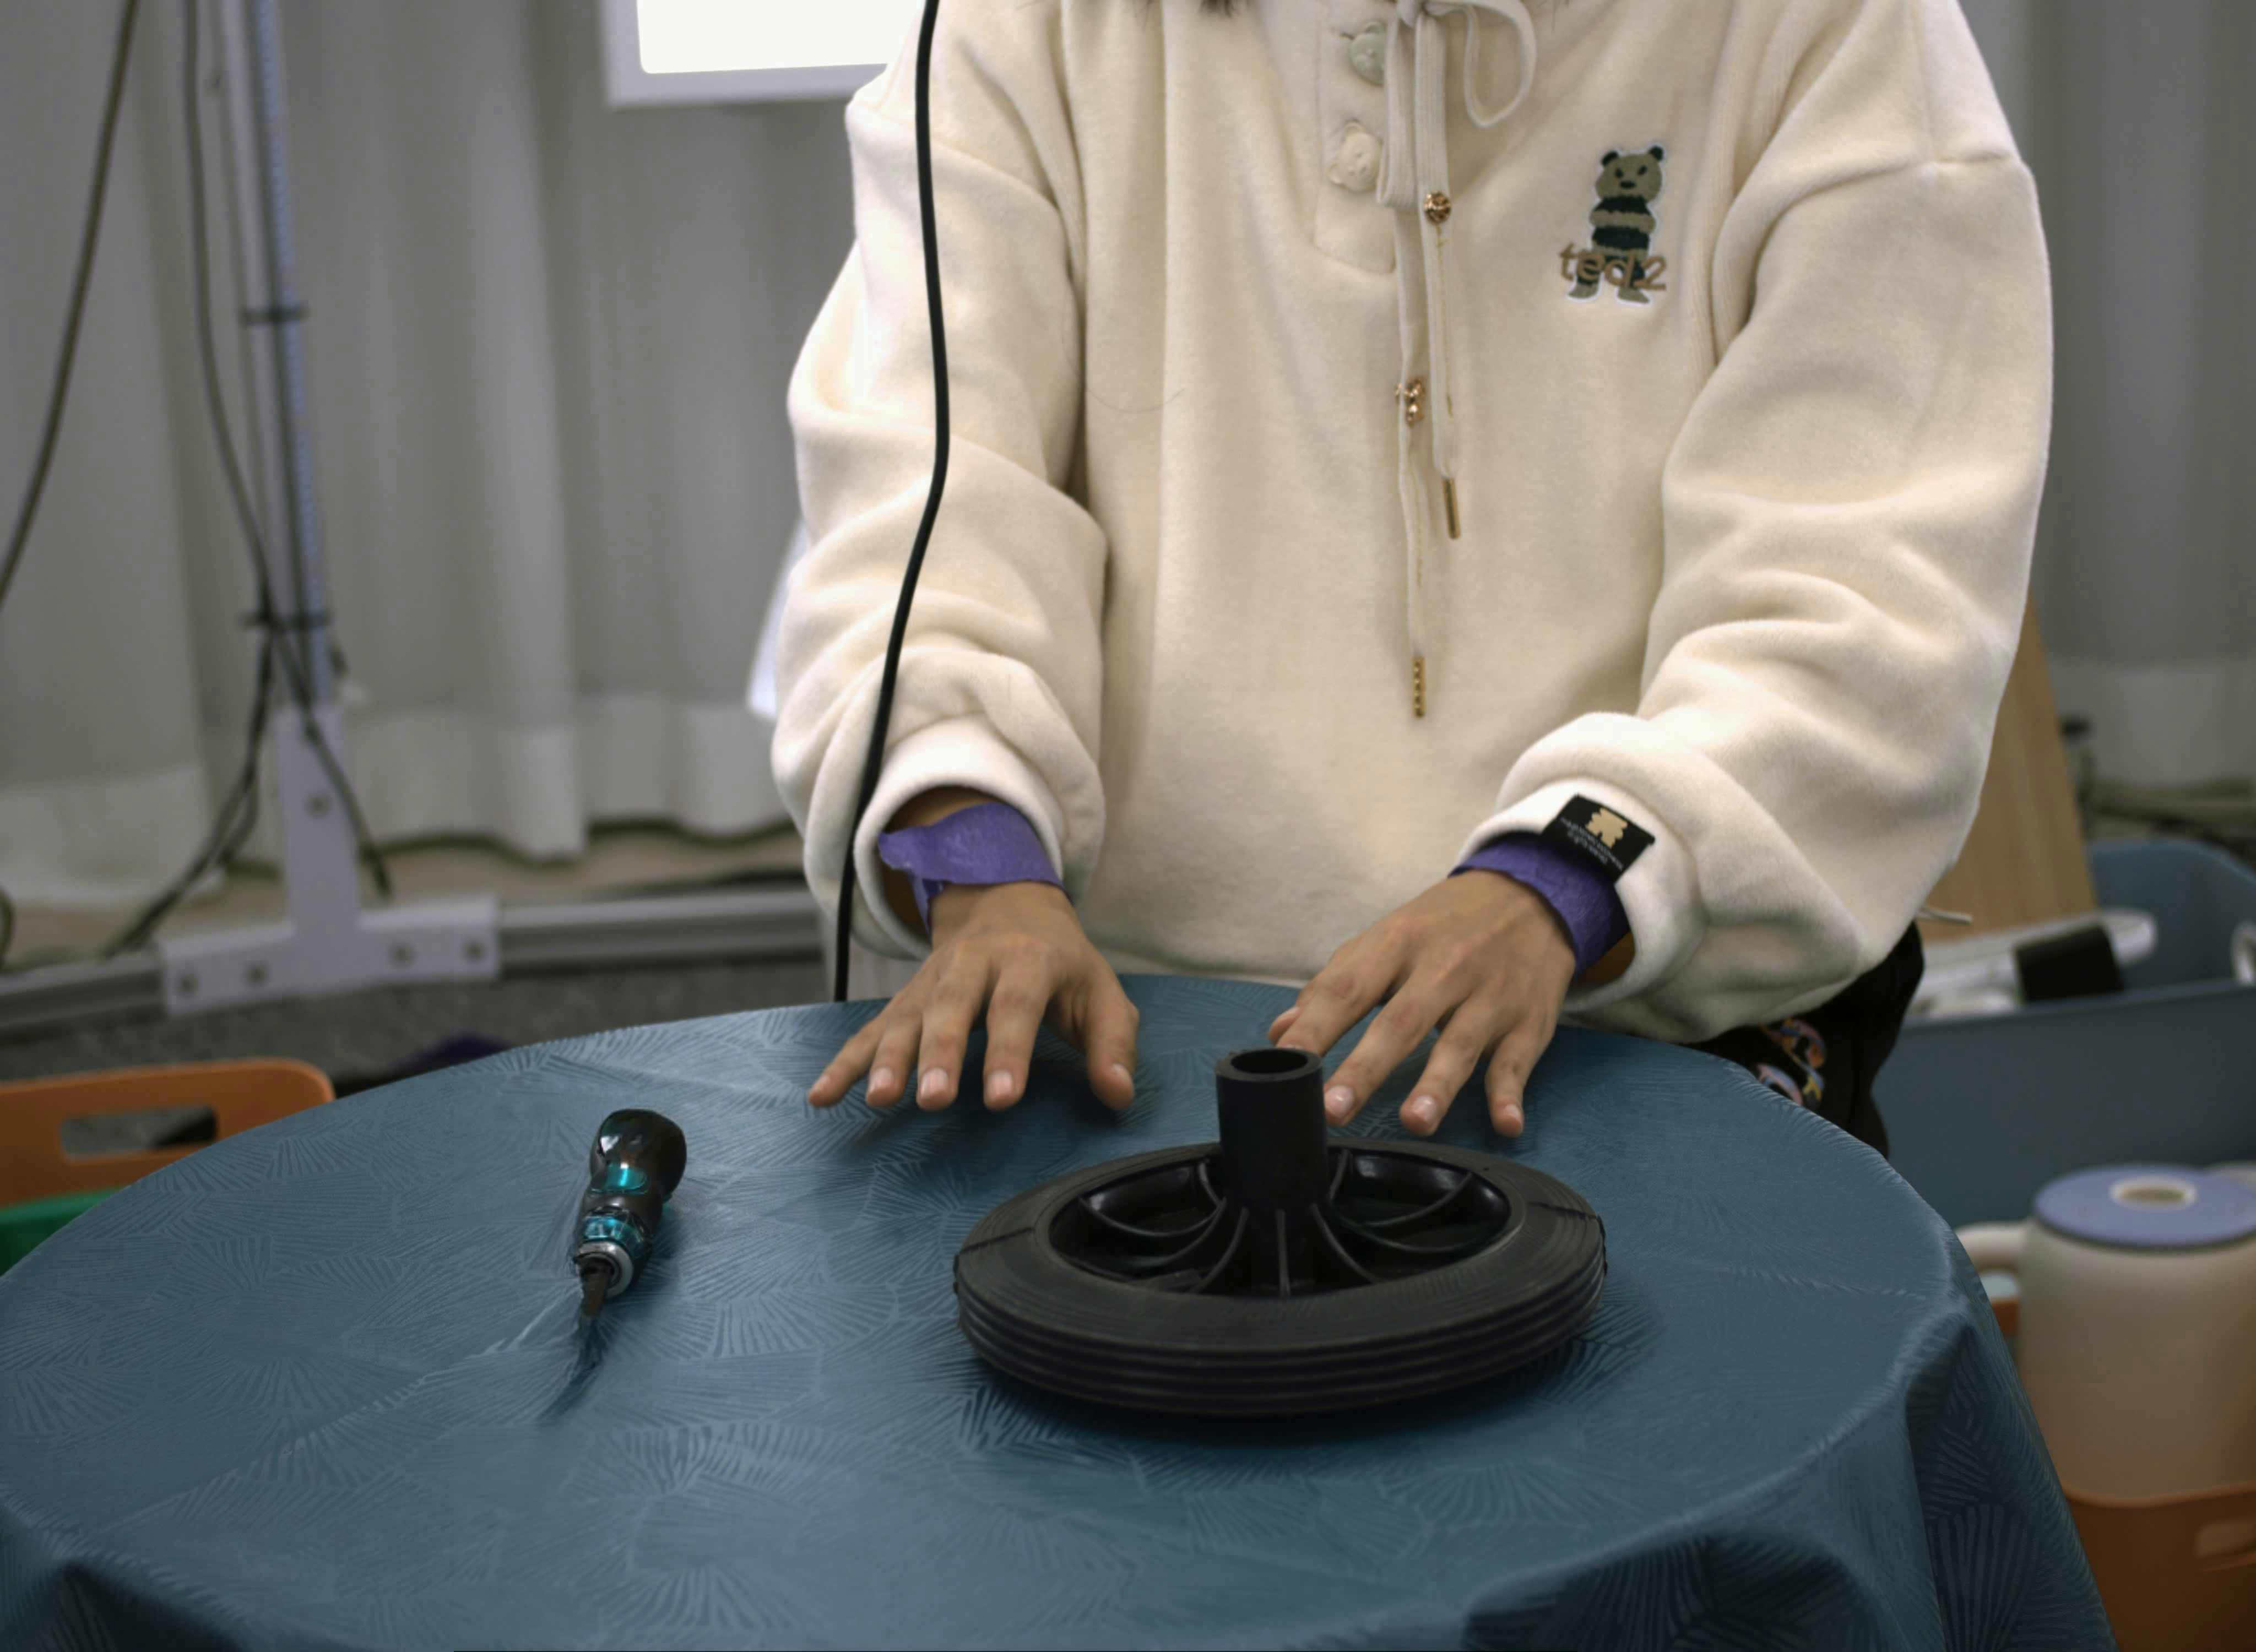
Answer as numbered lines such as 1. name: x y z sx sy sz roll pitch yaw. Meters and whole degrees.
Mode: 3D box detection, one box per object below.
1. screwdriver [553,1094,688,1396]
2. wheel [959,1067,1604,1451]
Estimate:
1. screwdriver: -0.158 0.129 1.651 0.033 0.033 0.191 -2 20 4
2. wheel: 0.041 0.112 1.573 0.188 0.078 0.190 8 22 36
